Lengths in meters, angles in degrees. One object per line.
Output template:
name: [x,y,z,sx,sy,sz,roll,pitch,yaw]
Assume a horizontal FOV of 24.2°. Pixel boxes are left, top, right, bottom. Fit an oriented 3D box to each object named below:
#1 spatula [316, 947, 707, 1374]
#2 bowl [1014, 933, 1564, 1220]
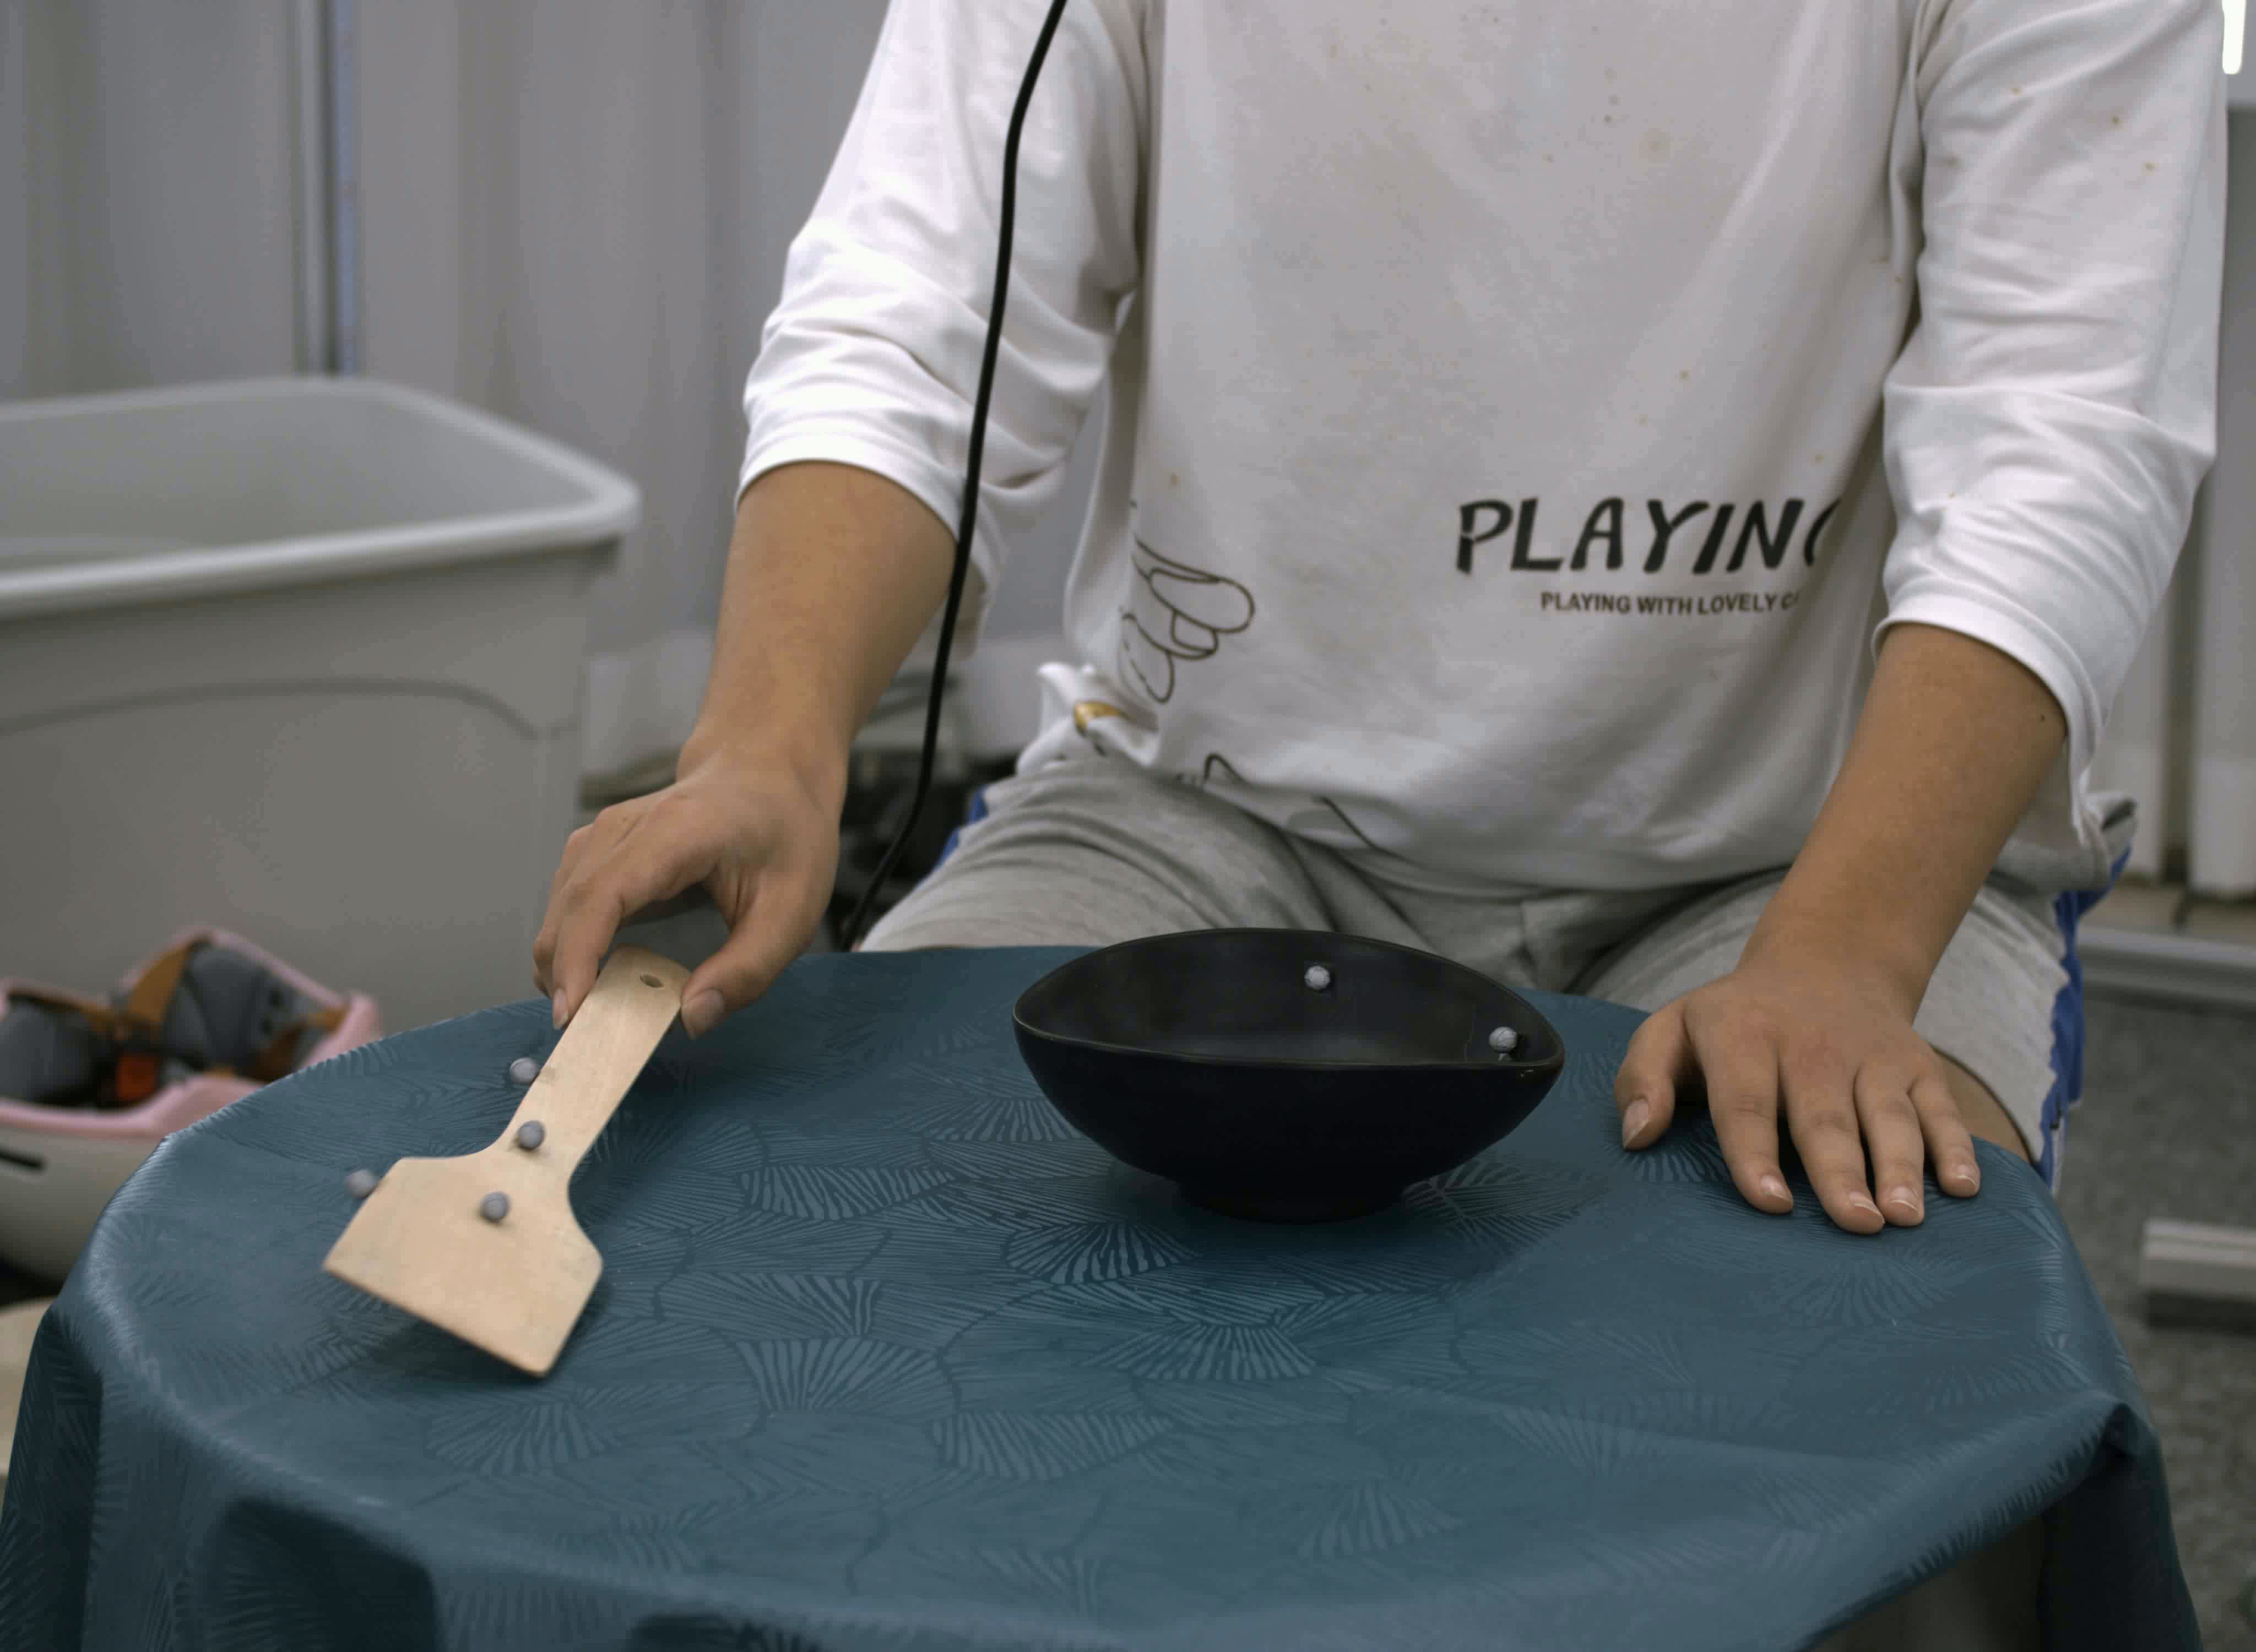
spatula: [-0.175,0.093,1.601,0.072,0.011,0.292,24,22,1]
bowl: [0.049,0.081,1.627,0.170,0.067,0.136,3,15,0]
